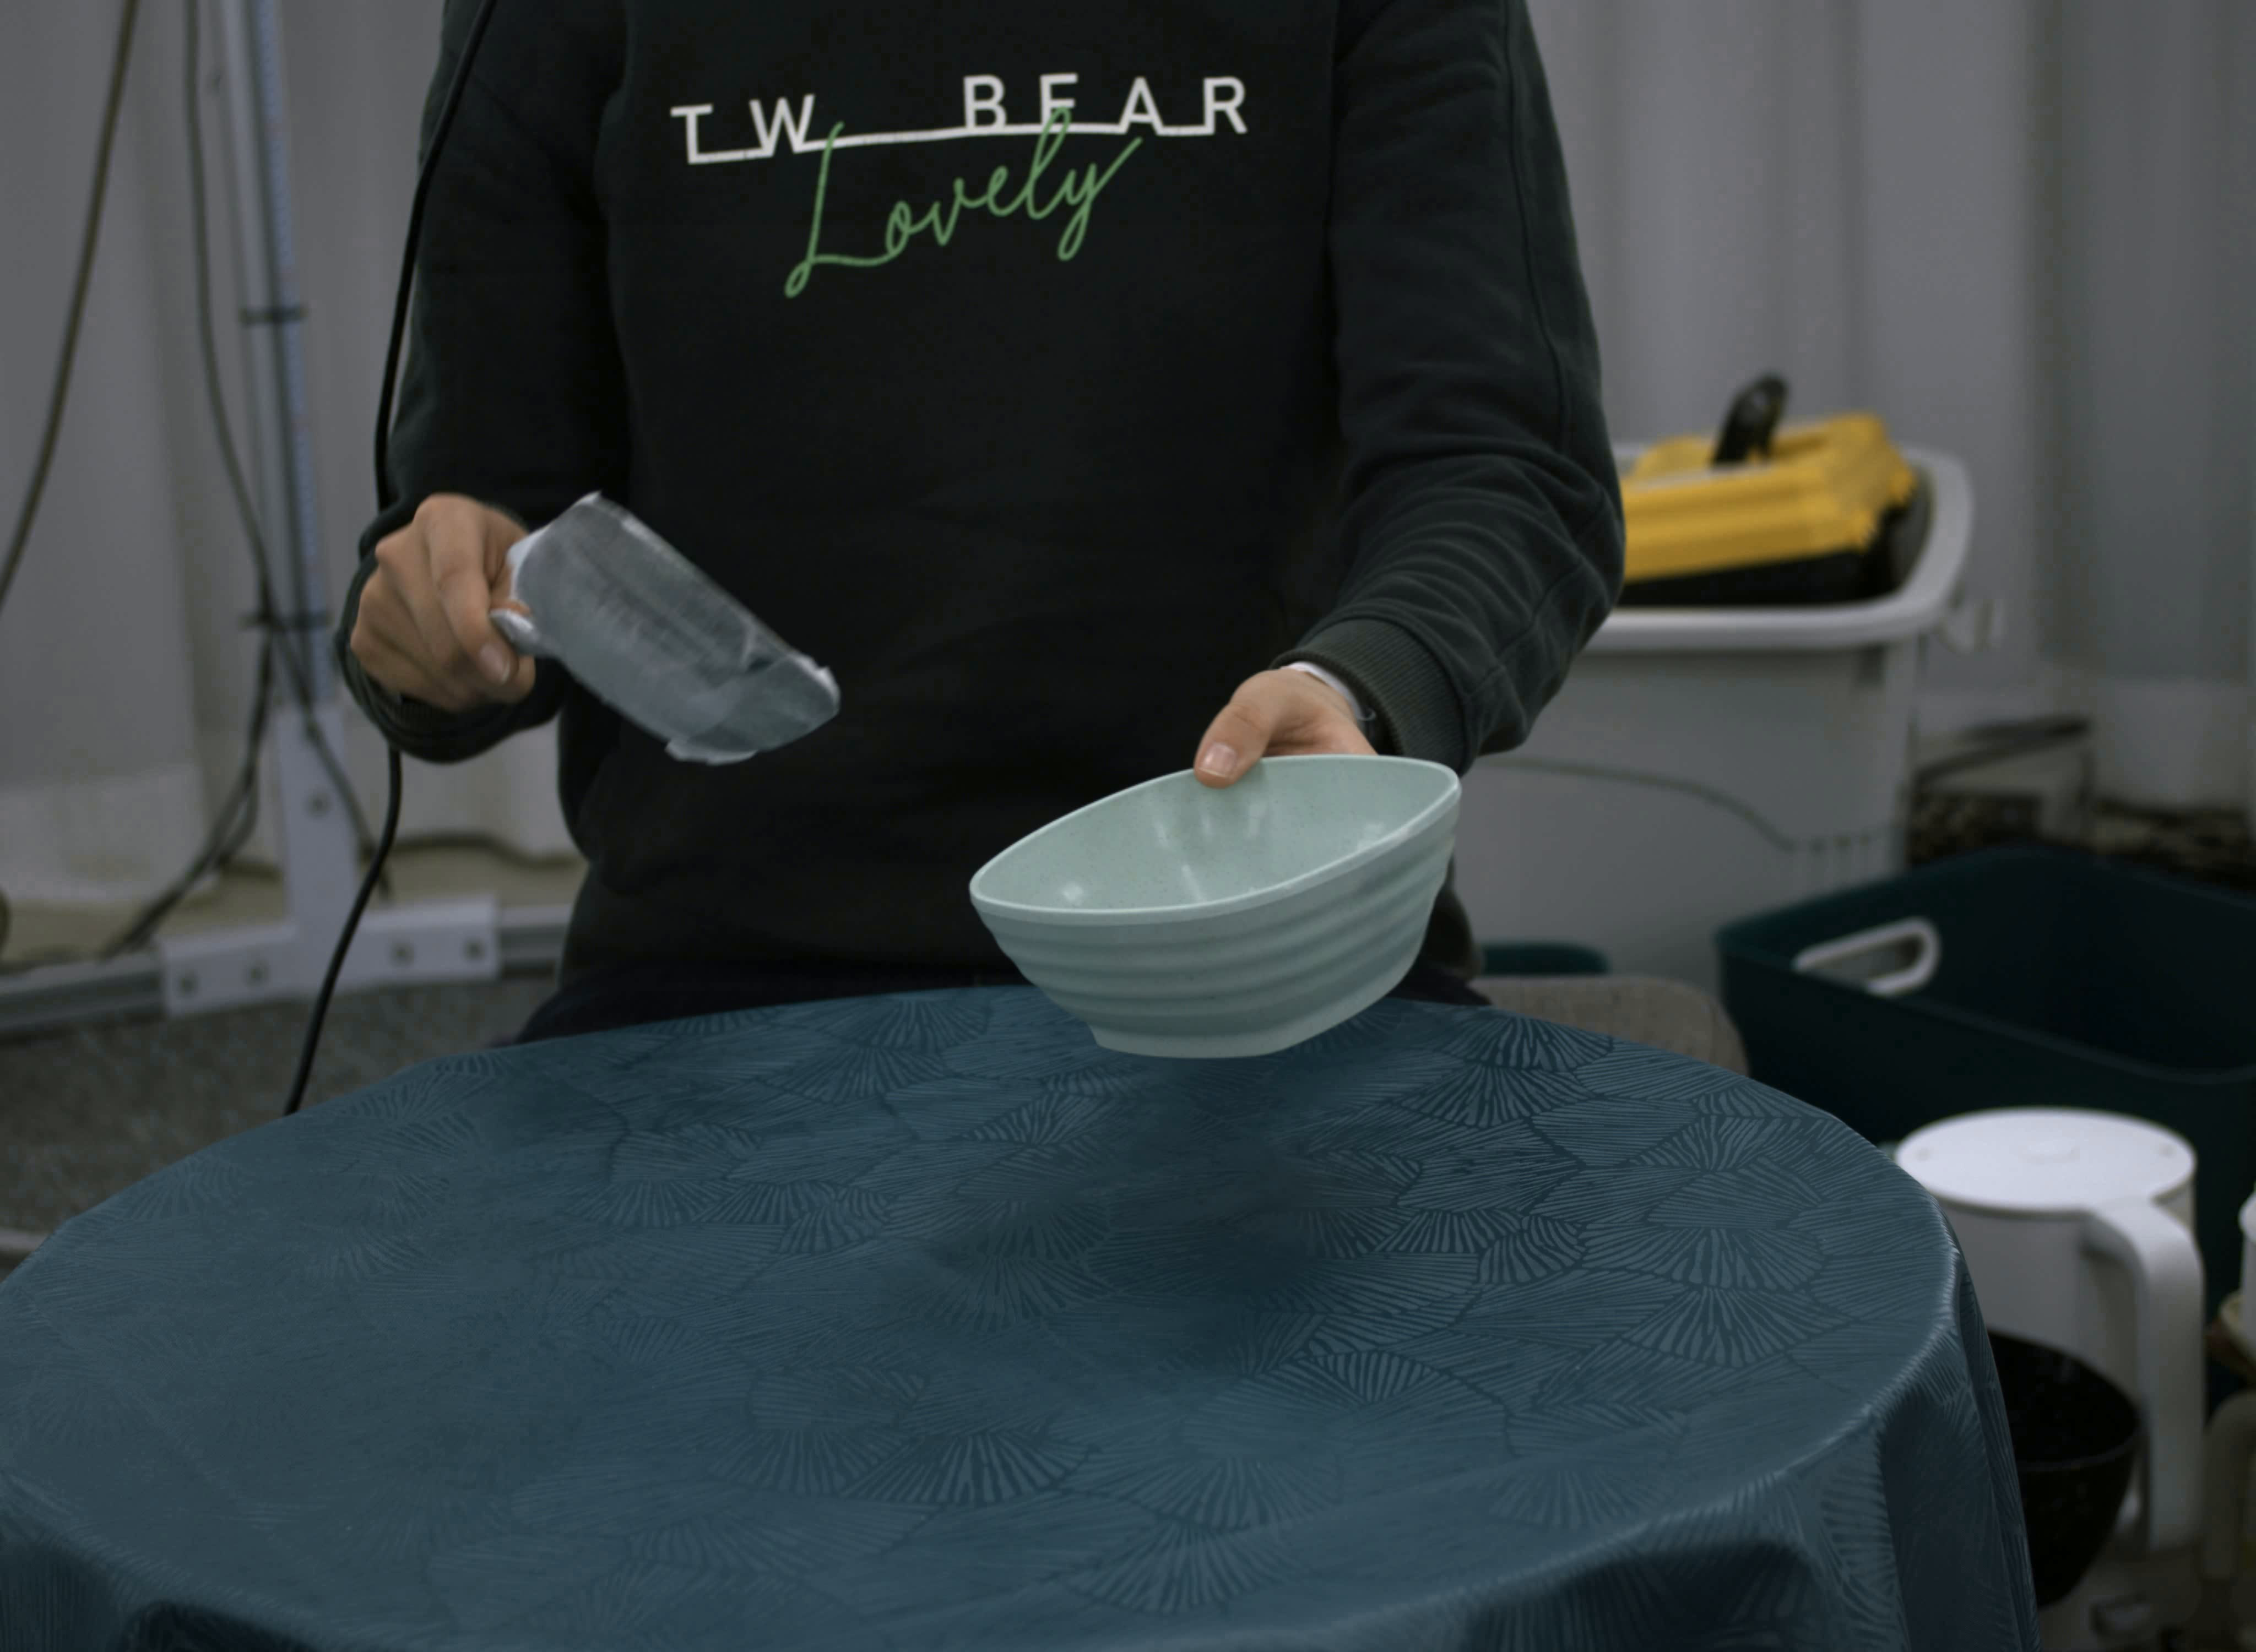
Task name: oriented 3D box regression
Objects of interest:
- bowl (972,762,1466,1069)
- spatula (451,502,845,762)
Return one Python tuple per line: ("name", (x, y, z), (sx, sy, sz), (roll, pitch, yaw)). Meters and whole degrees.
("bowl", (0.031, 0.031, 1.649), (0.151, 0.058, 0.152), (-10, 17, 2))
("spatula", (-0.172, -0.056, 1.715), (0.098, 0.045, 0.366), (37, -7, -14))
